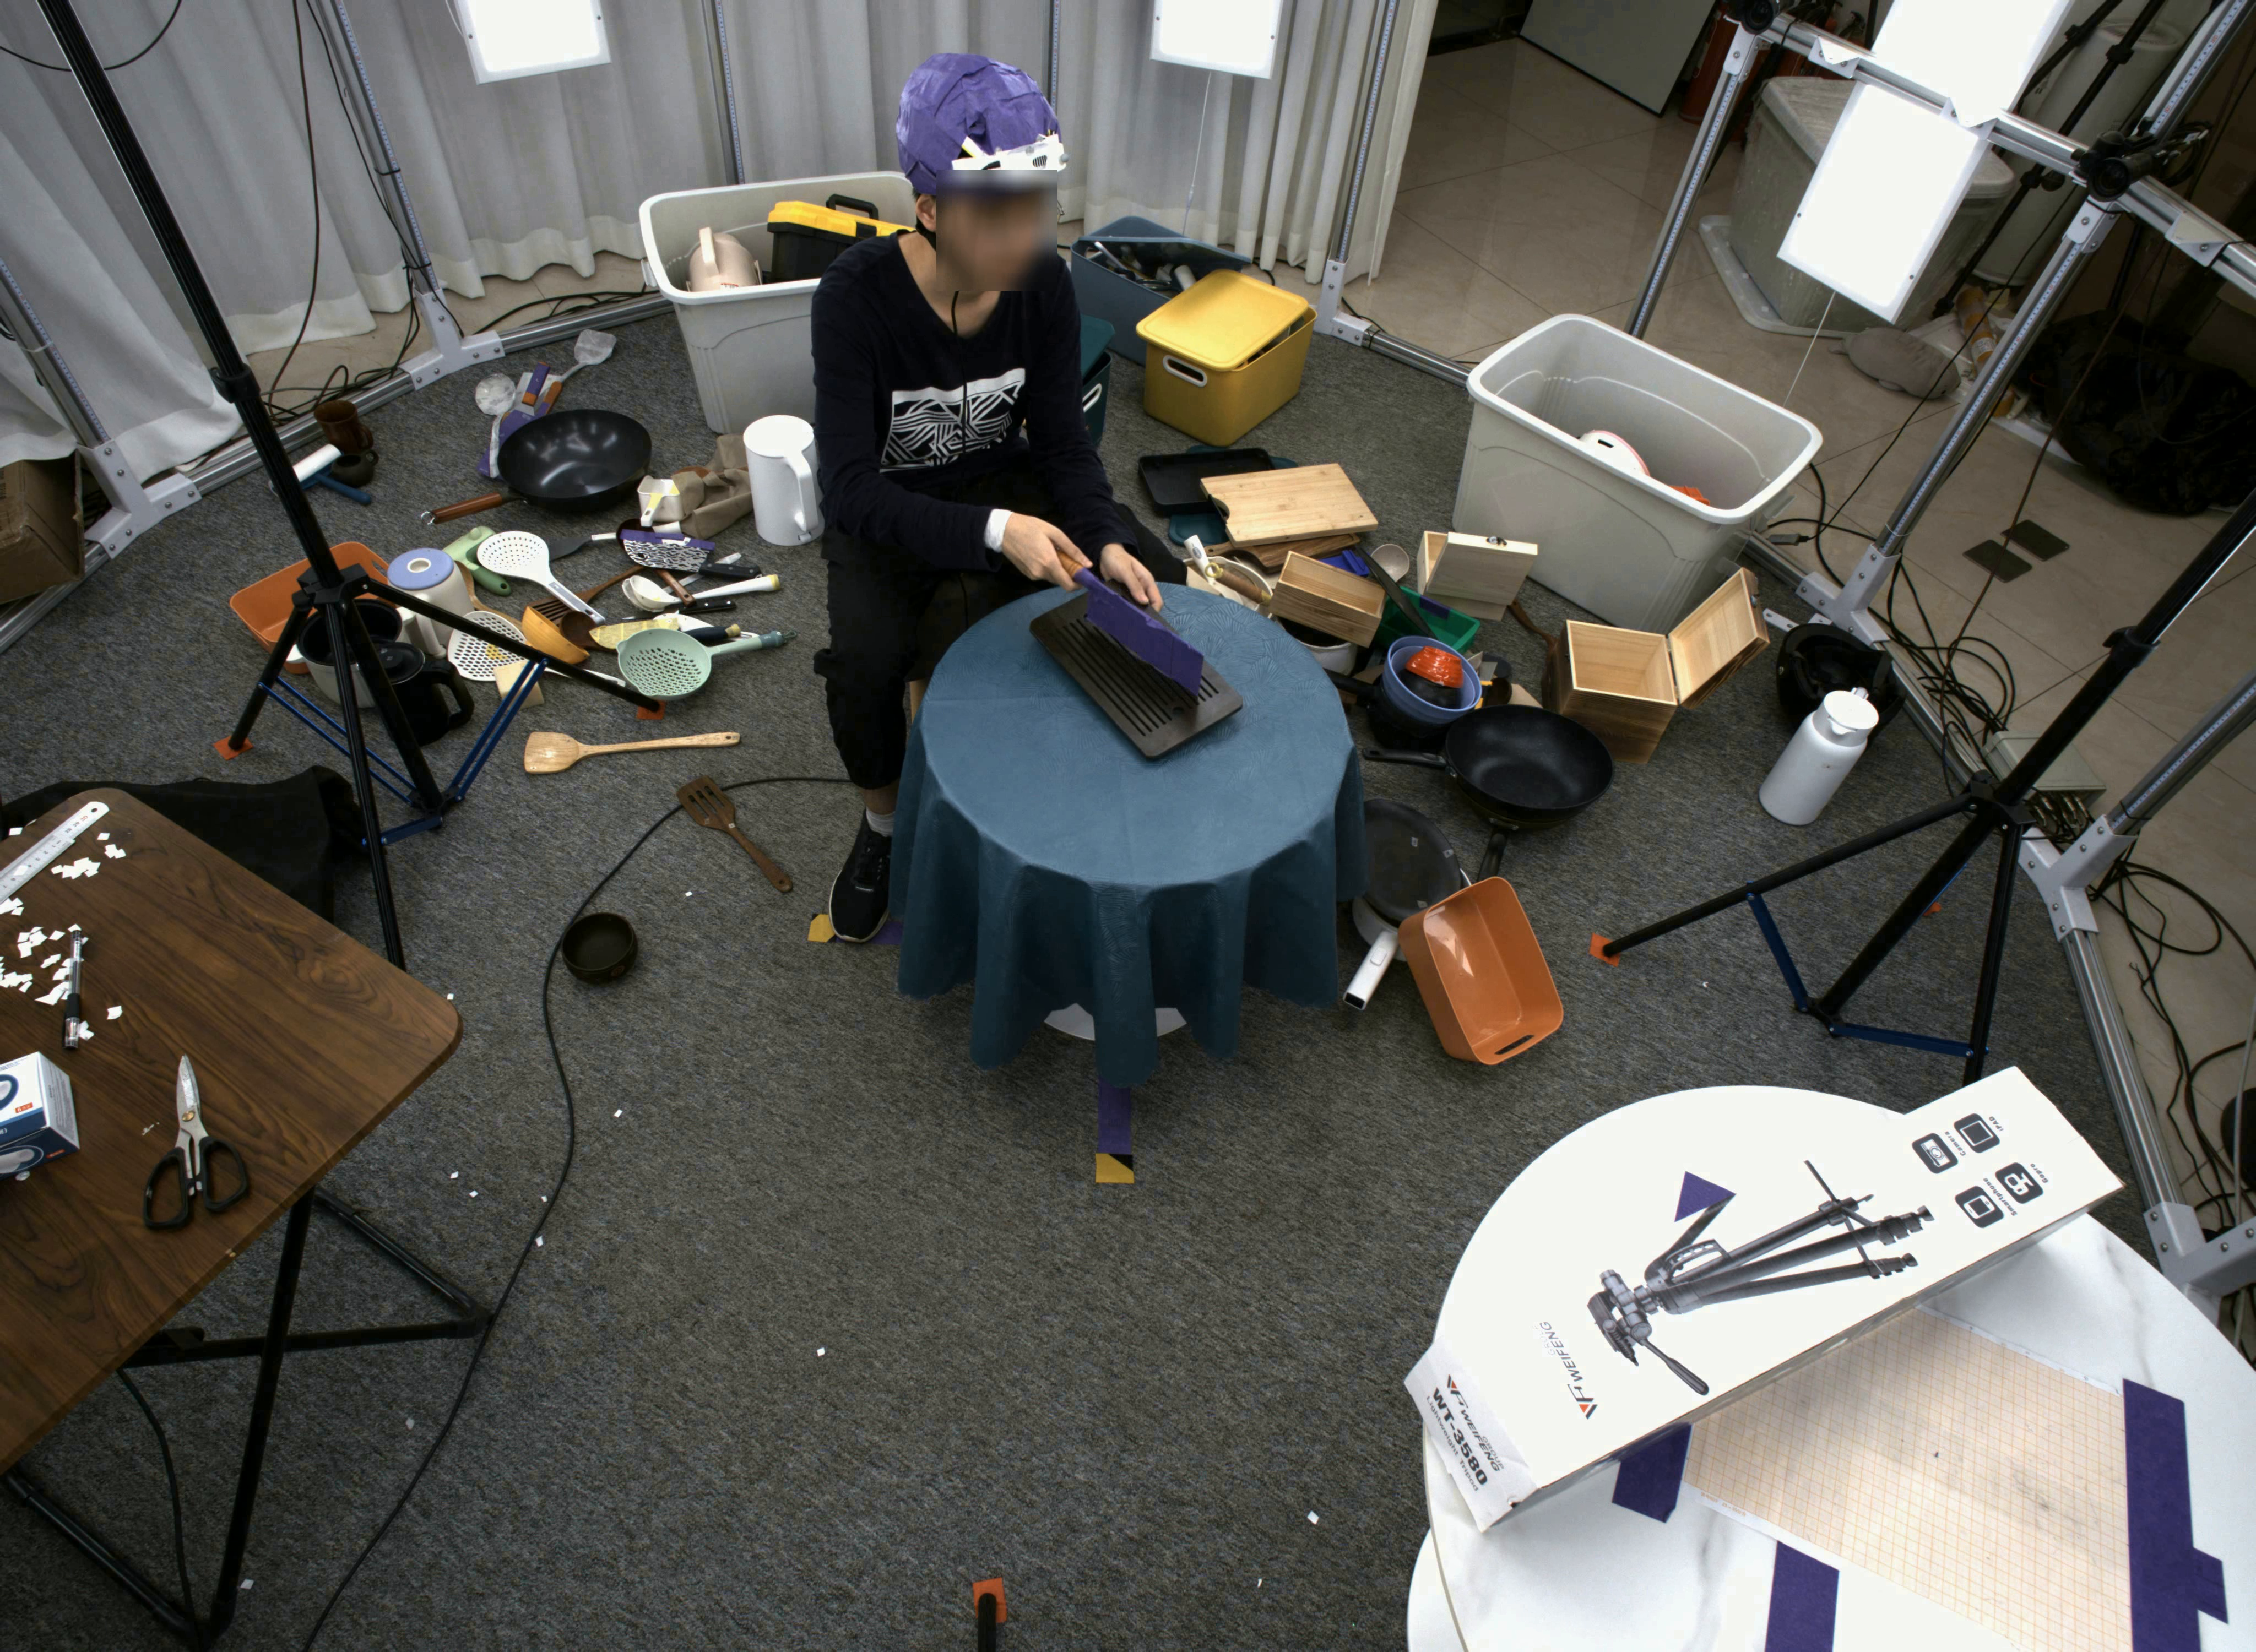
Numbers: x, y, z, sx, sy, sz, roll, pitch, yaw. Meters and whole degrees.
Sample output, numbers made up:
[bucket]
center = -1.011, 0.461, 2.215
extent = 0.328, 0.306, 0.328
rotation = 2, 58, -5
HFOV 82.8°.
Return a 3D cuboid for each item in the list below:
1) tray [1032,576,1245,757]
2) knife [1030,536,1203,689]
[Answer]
[tray]
center = 0.012, -0.232, 1.837
extent = 0.171, 0.018, 0.311
rotation = -31, 60, -18
[knife]
center = -0.018, -0.295, 1.807
extent = 0.319, 0.101, 0.032
rotation = 39, 61, 23
